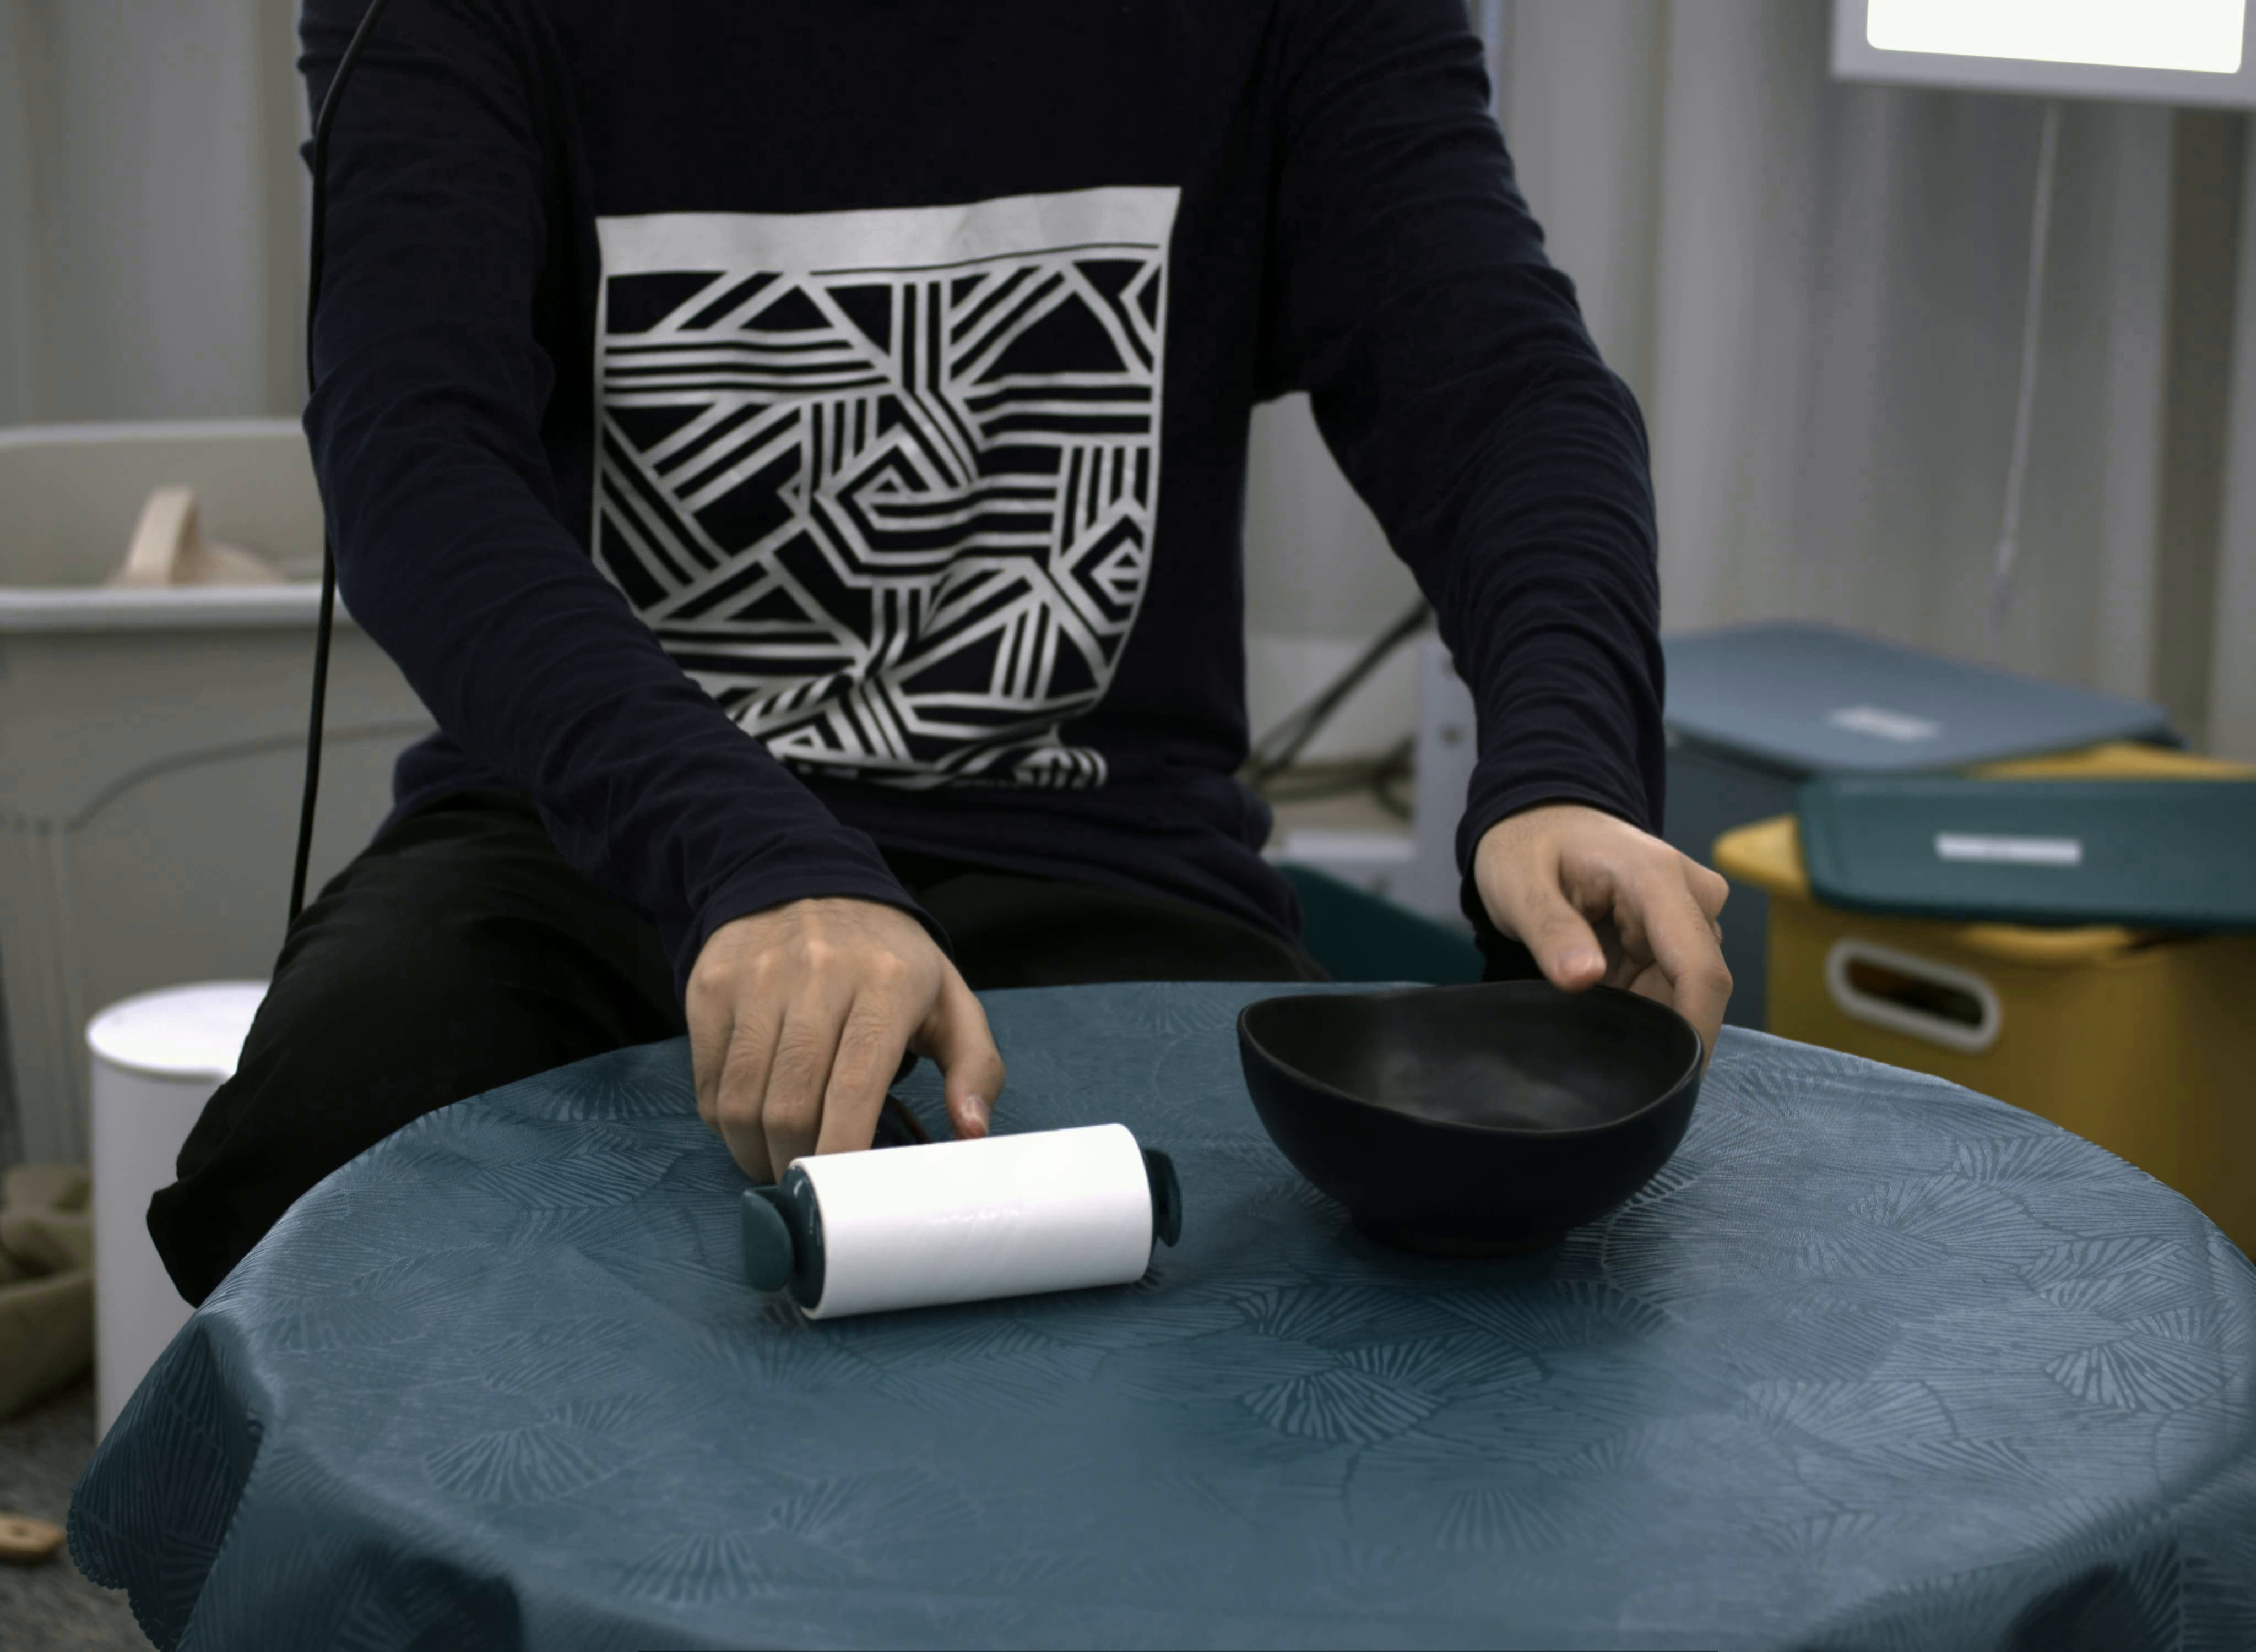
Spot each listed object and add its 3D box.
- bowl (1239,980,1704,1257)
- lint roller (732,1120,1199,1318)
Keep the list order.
[{"bbox_3d":[0.101,0.090,1.589,0.137,0.067,0.168,-4,14,-15],"label":"bowl"},{"bbox_3d":[-0.070,0.098,1.586,0.134,0.049,0.178,-5,16,-19],"label":"lint roller"}]
